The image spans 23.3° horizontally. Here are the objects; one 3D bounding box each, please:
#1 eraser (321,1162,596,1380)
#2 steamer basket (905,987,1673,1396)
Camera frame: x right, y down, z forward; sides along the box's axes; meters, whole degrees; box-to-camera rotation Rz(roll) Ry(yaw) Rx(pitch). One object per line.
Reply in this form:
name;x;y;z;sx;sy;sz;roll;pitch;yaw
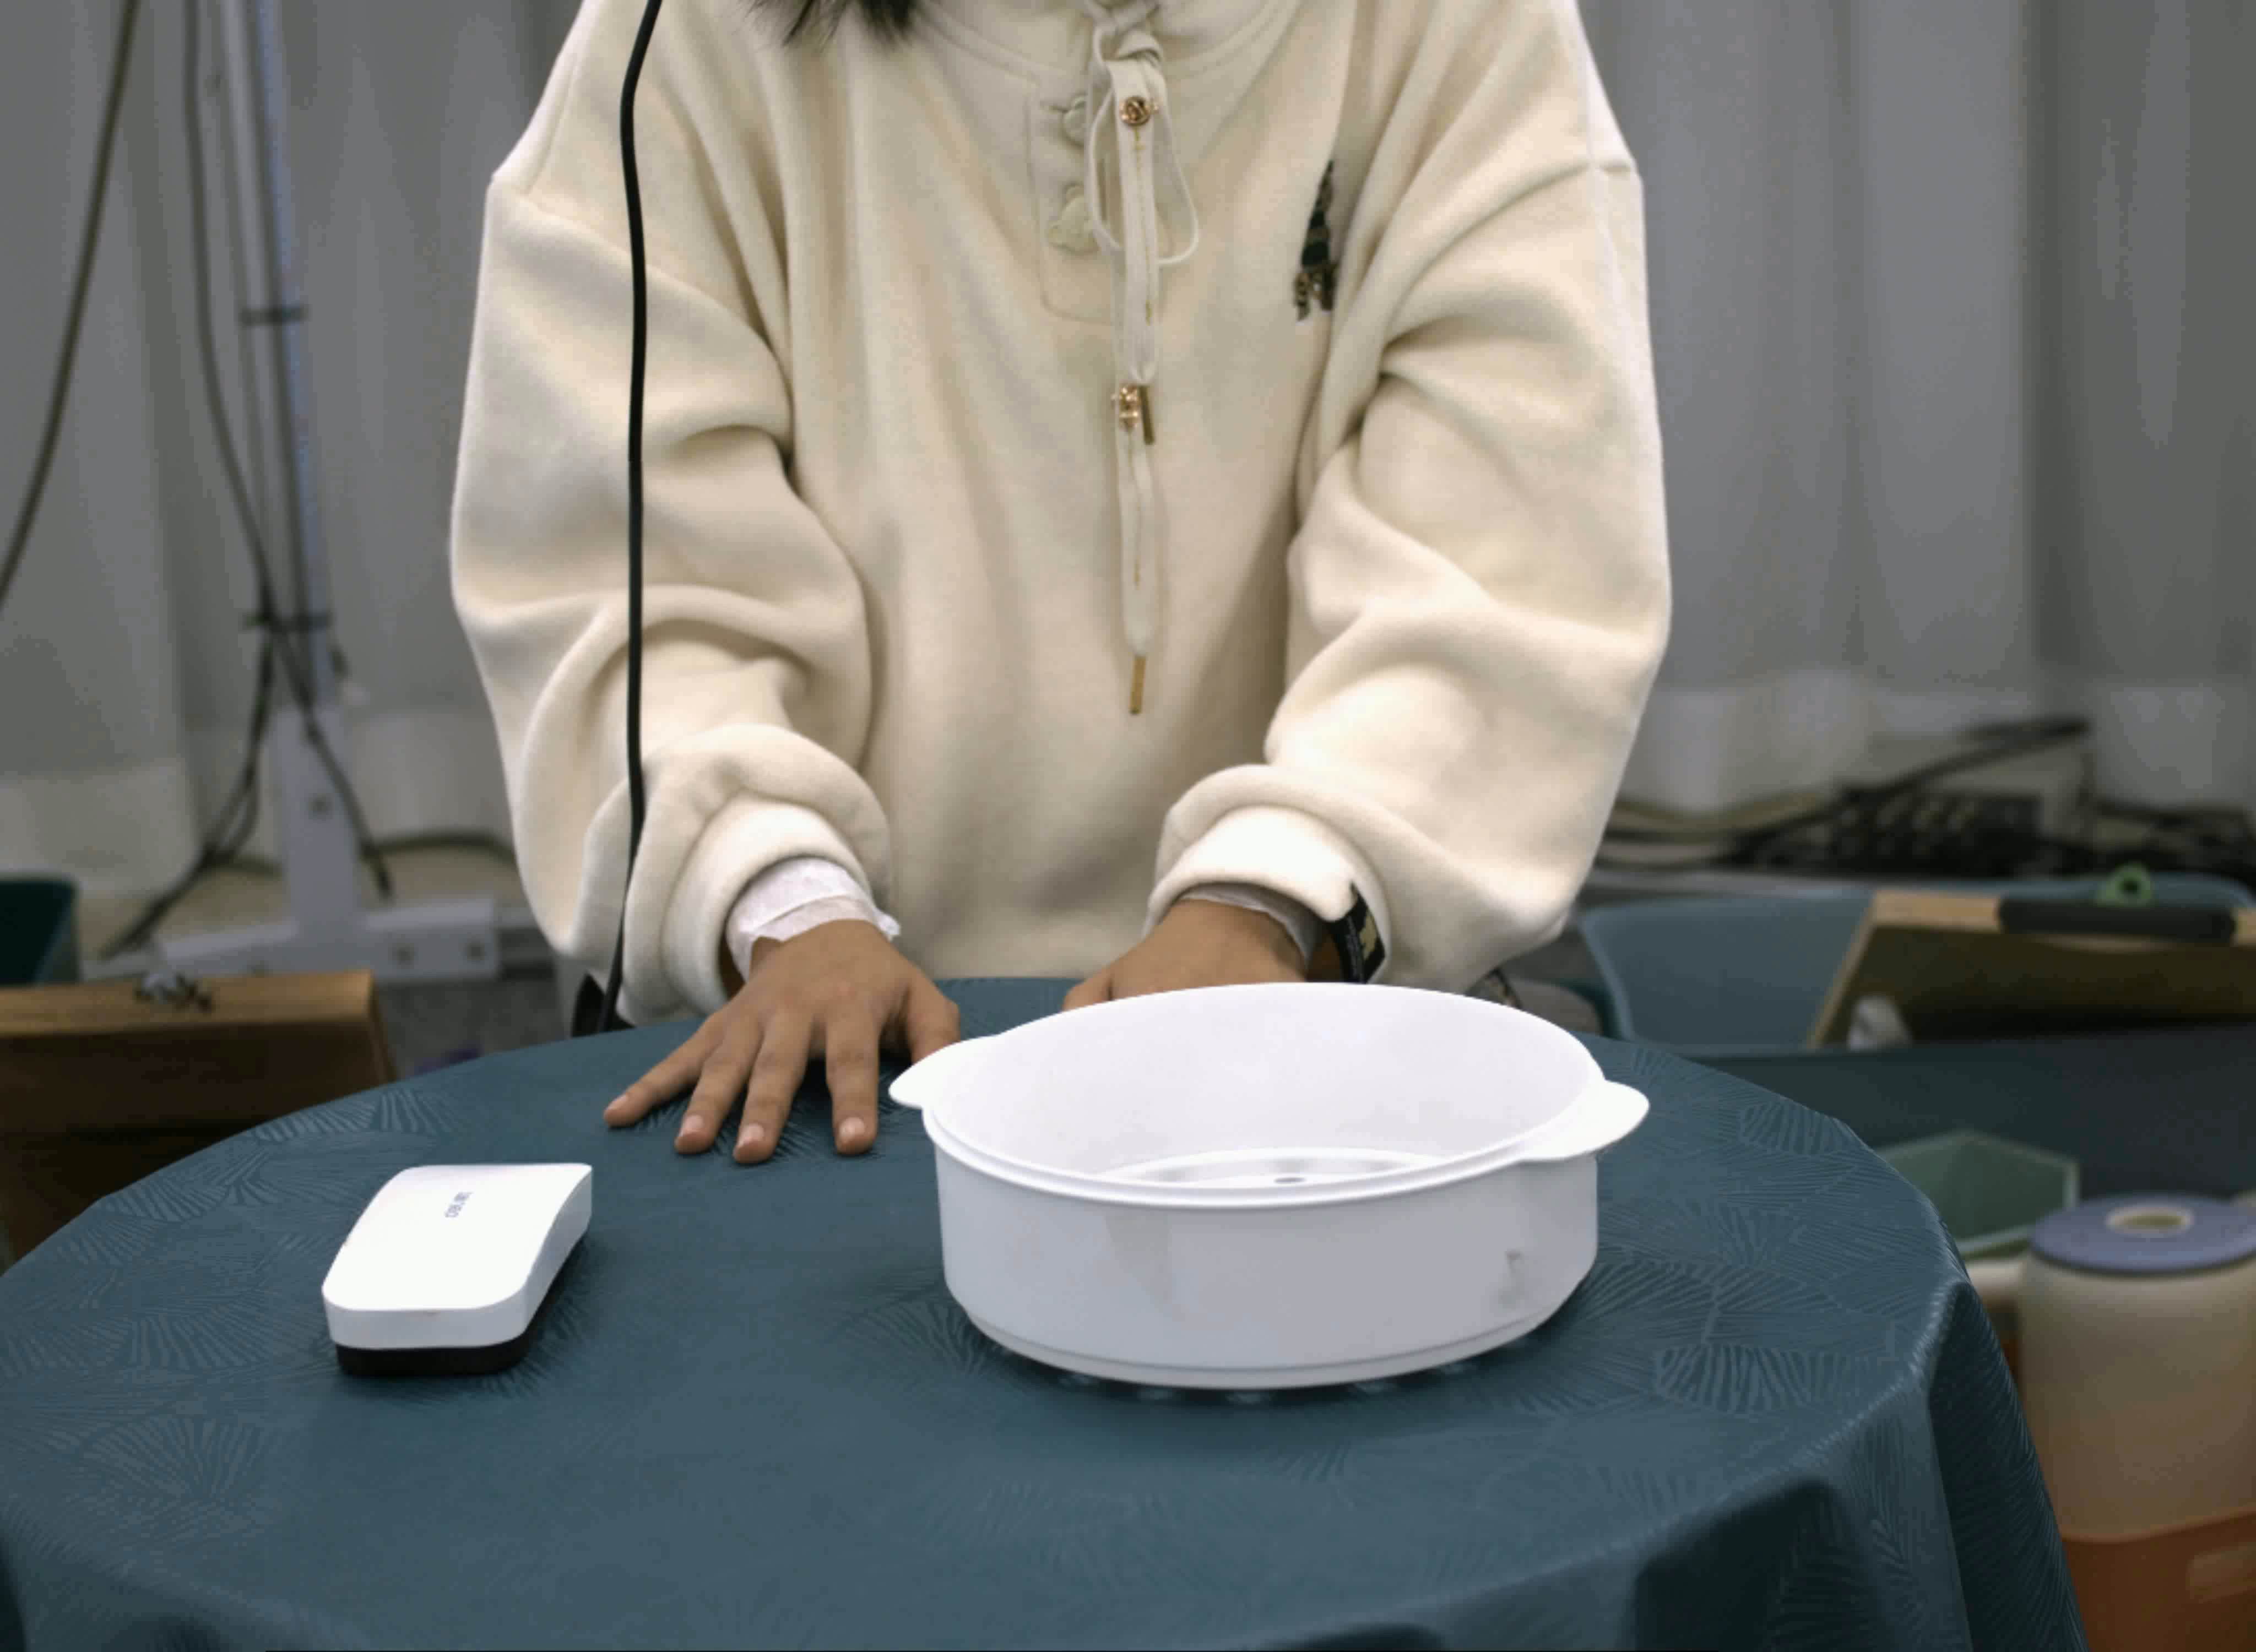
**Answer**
eraser;-0.198;0.129;1.640;0.063;0.034;0.132;-2;15;8
steamer basket;0.046;0.107;1.606;0.231;0.069;0.202;5;16;23
